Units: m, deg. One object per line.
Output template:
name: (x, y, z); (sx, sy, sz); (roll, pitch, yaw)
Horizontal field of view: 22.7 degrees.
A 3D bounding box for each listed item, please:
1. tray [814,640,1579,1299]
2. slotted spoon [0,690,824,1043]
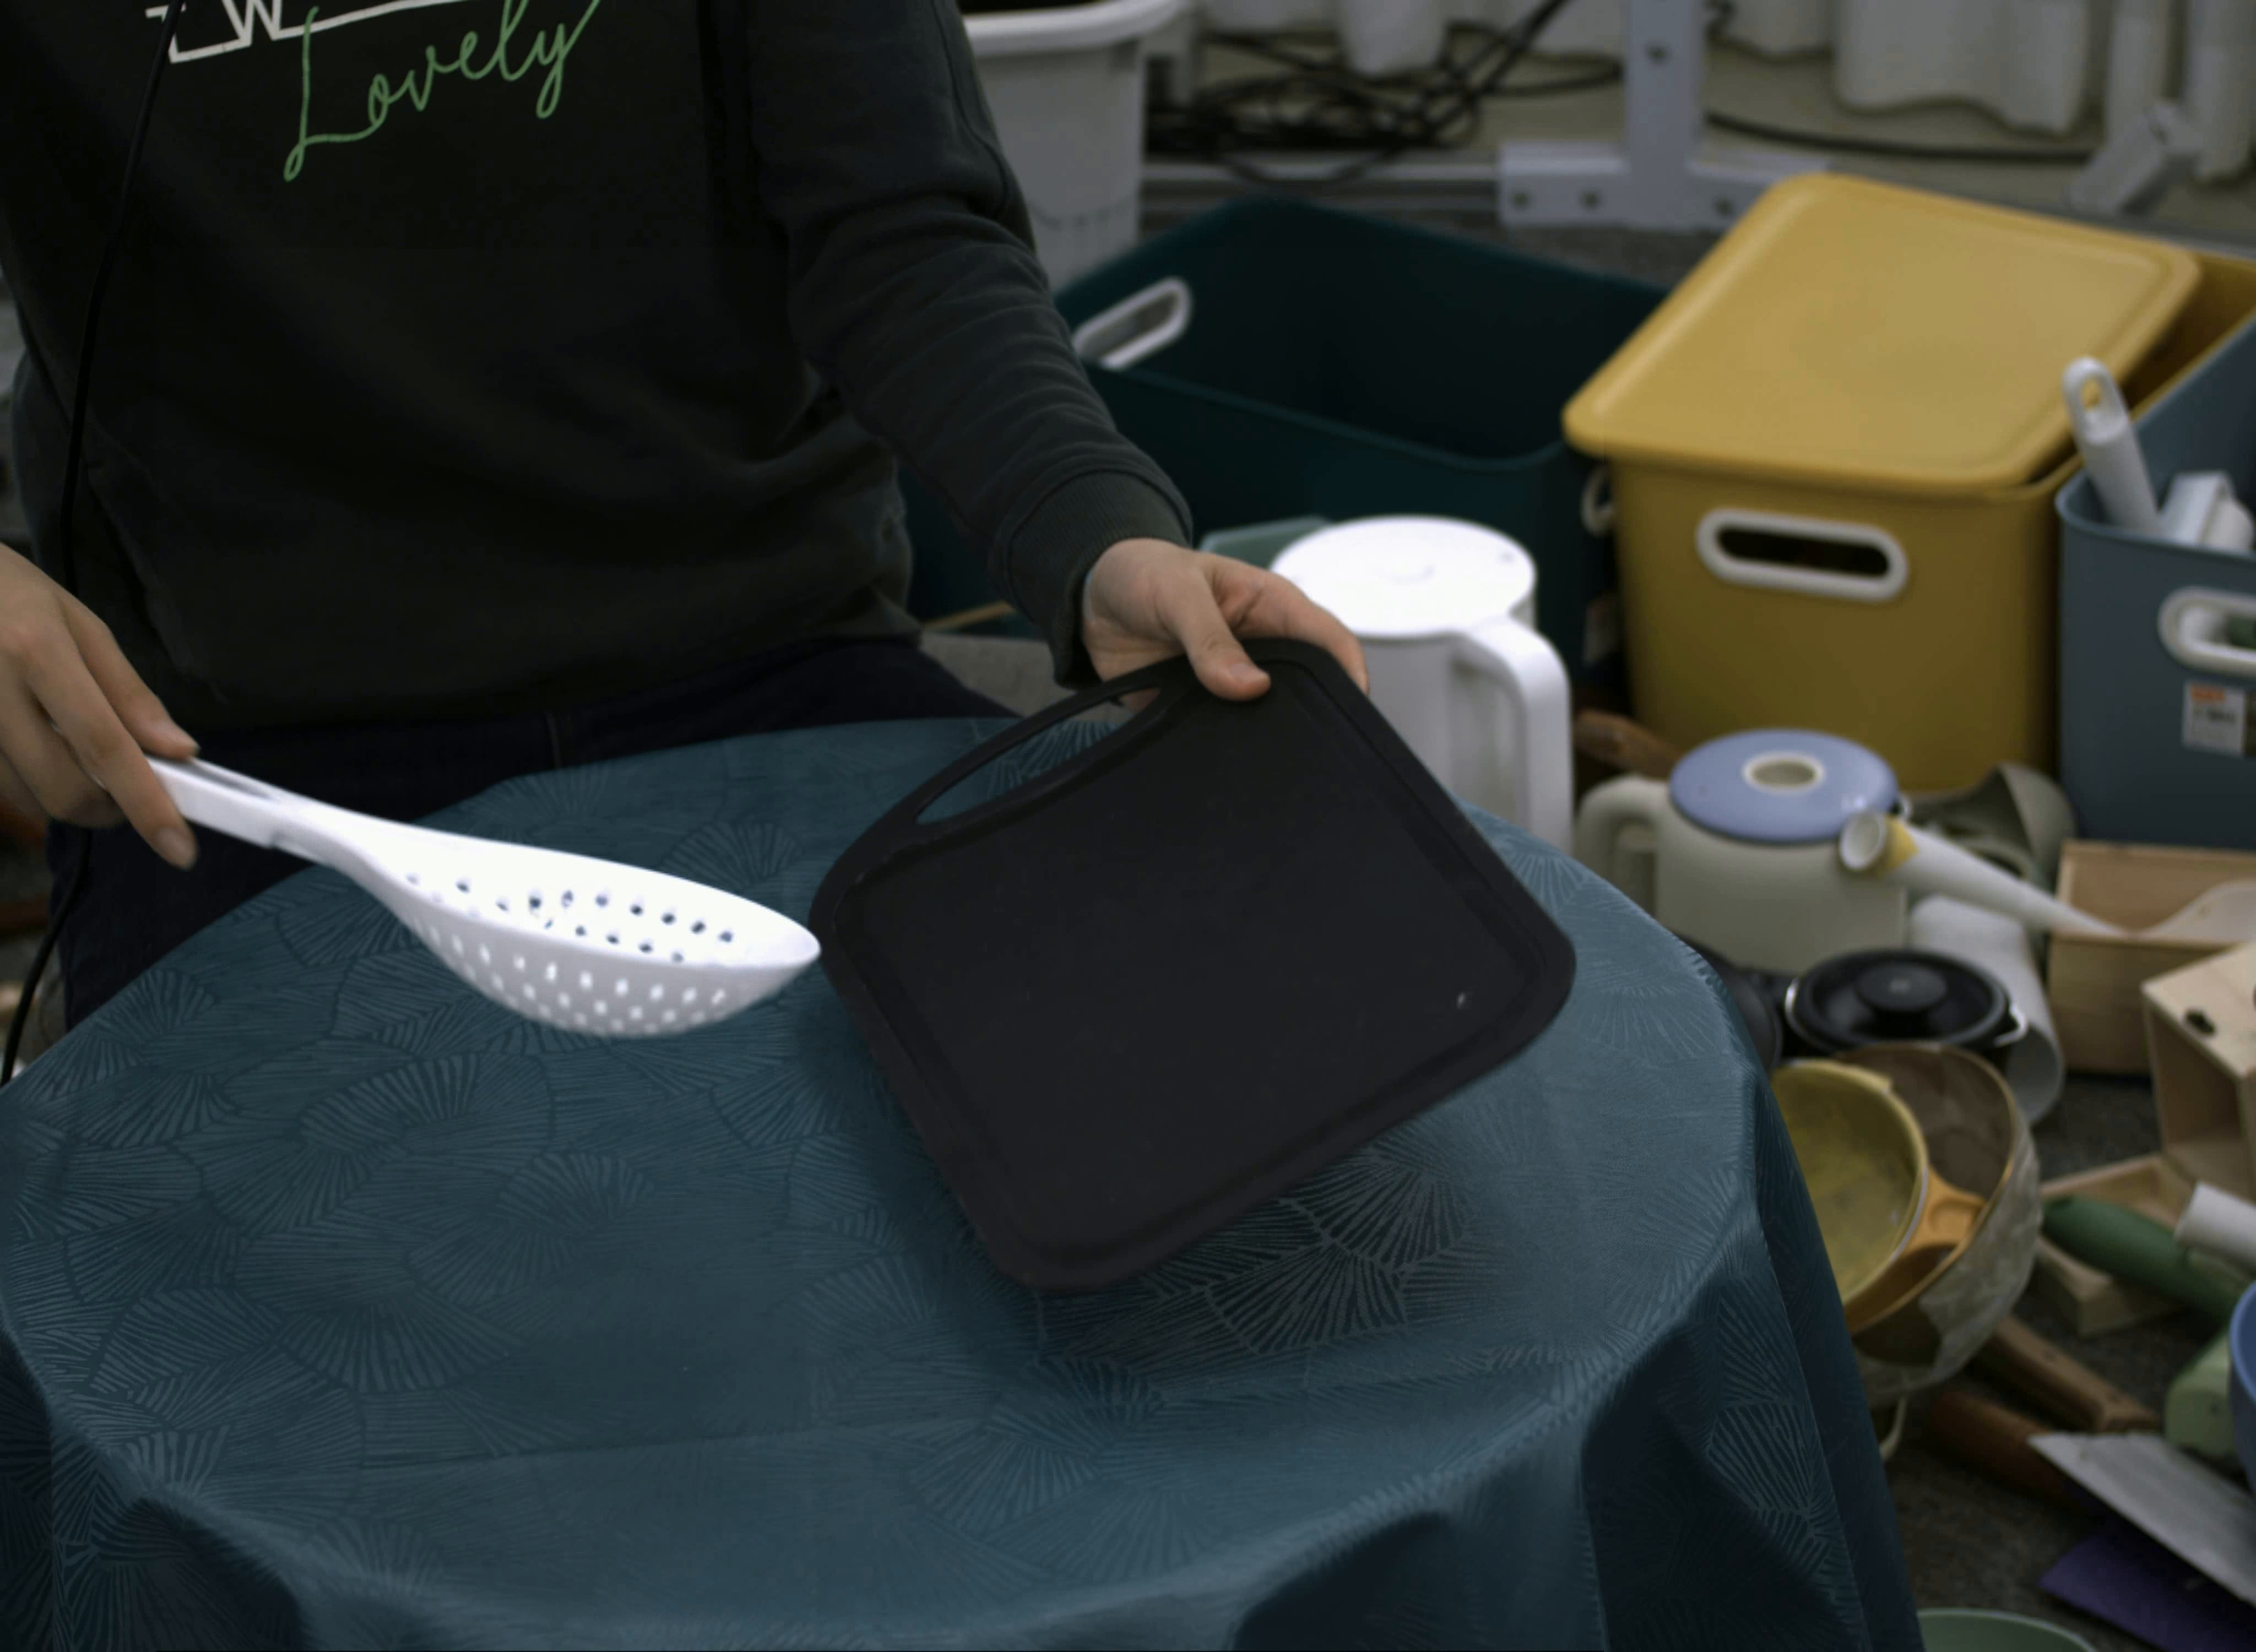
tray: (0.012, 0.037, 1.870); (0.211, 0.010, 0.328); (-29, 32, -4)
slotted spoon: (-0.252, 0.005, 1.783); (0.349, 0.045, 0.137); (23, 13, 28)
